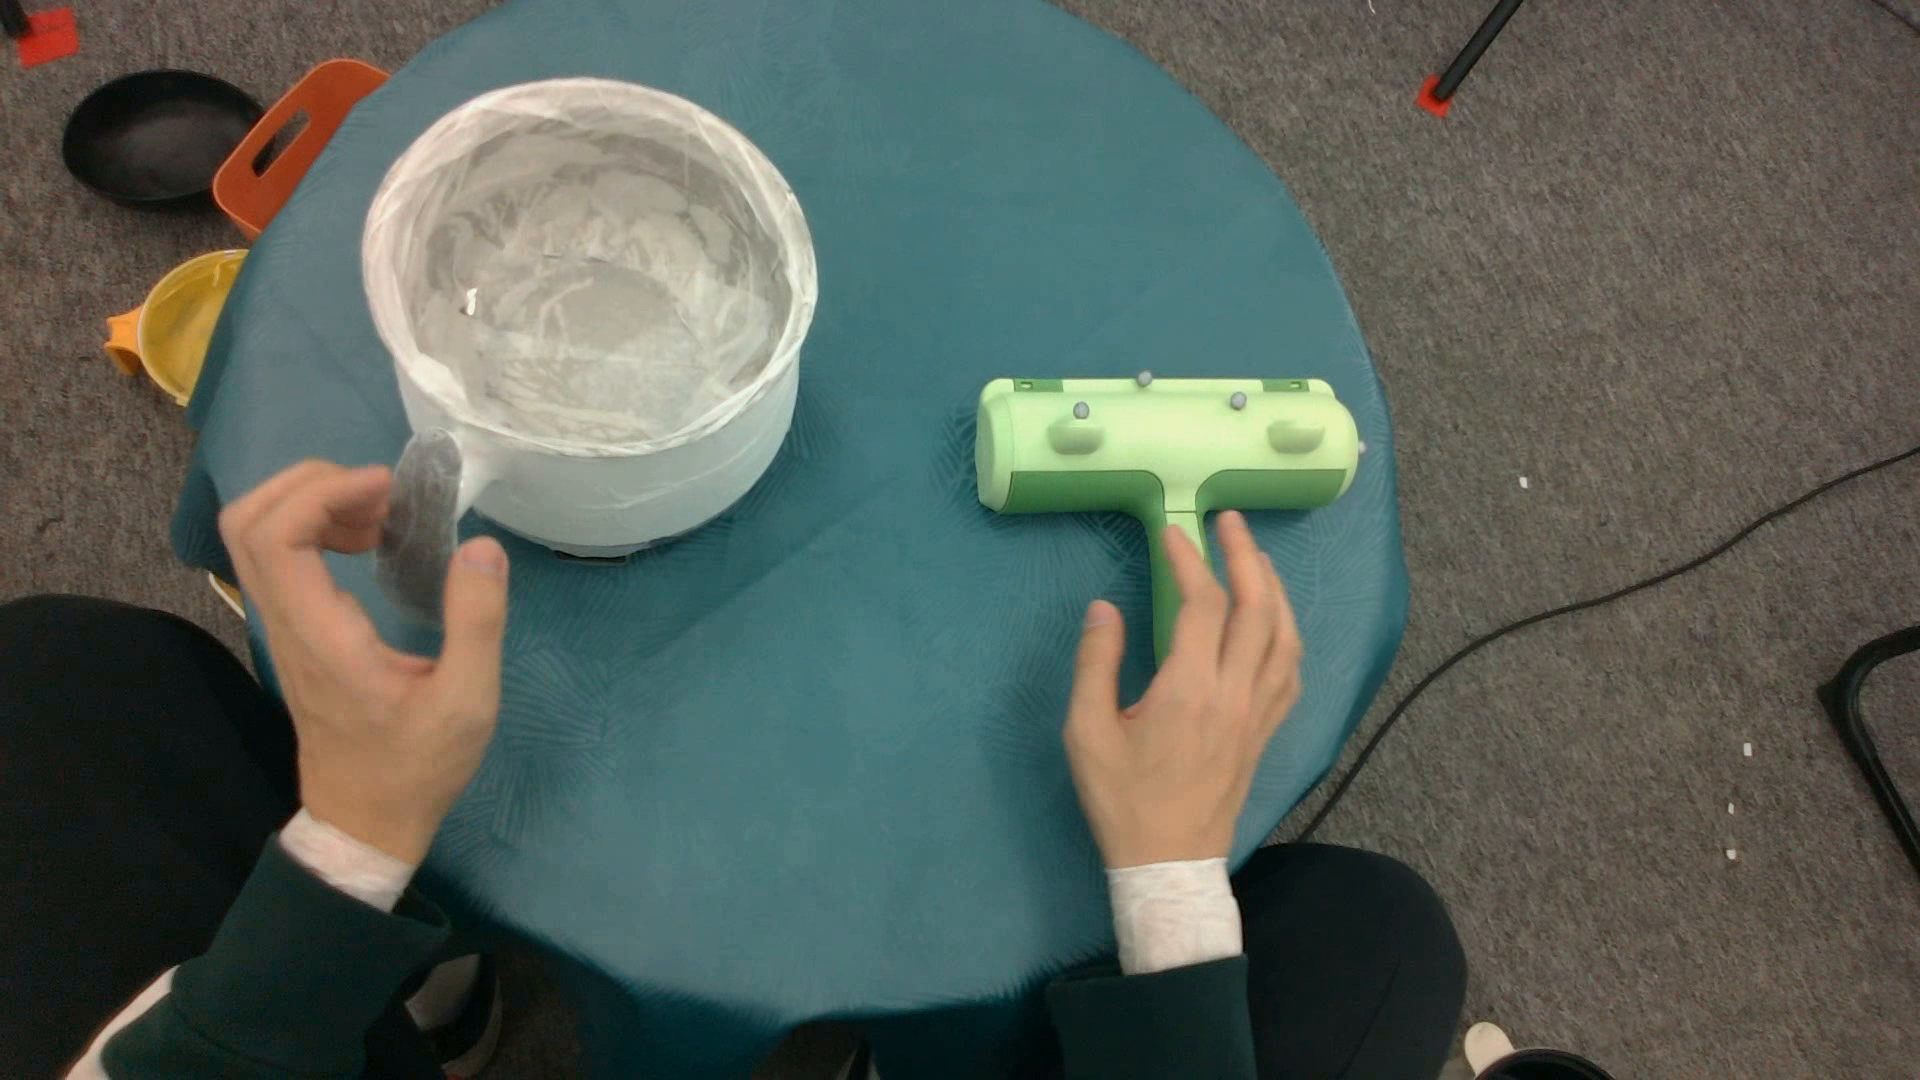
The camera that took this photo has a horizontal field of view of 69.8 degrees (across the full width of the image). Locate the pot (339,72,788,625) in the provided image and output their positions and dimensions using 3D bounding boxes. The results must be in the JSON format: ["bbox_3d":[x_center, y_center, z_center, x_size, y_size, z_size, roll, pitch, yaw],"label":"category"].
[{"bbox_3d":[-0.183,-0.073,0.605,0.179,0.136,0.234,29,65,0],"label":"pot"}]

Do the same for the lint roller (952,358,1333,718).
[{"bbox_3d":[0.104,-0.010,0.682,0.199,0.082,0.184,-2,65,-14],"label":"lint roller"}]
